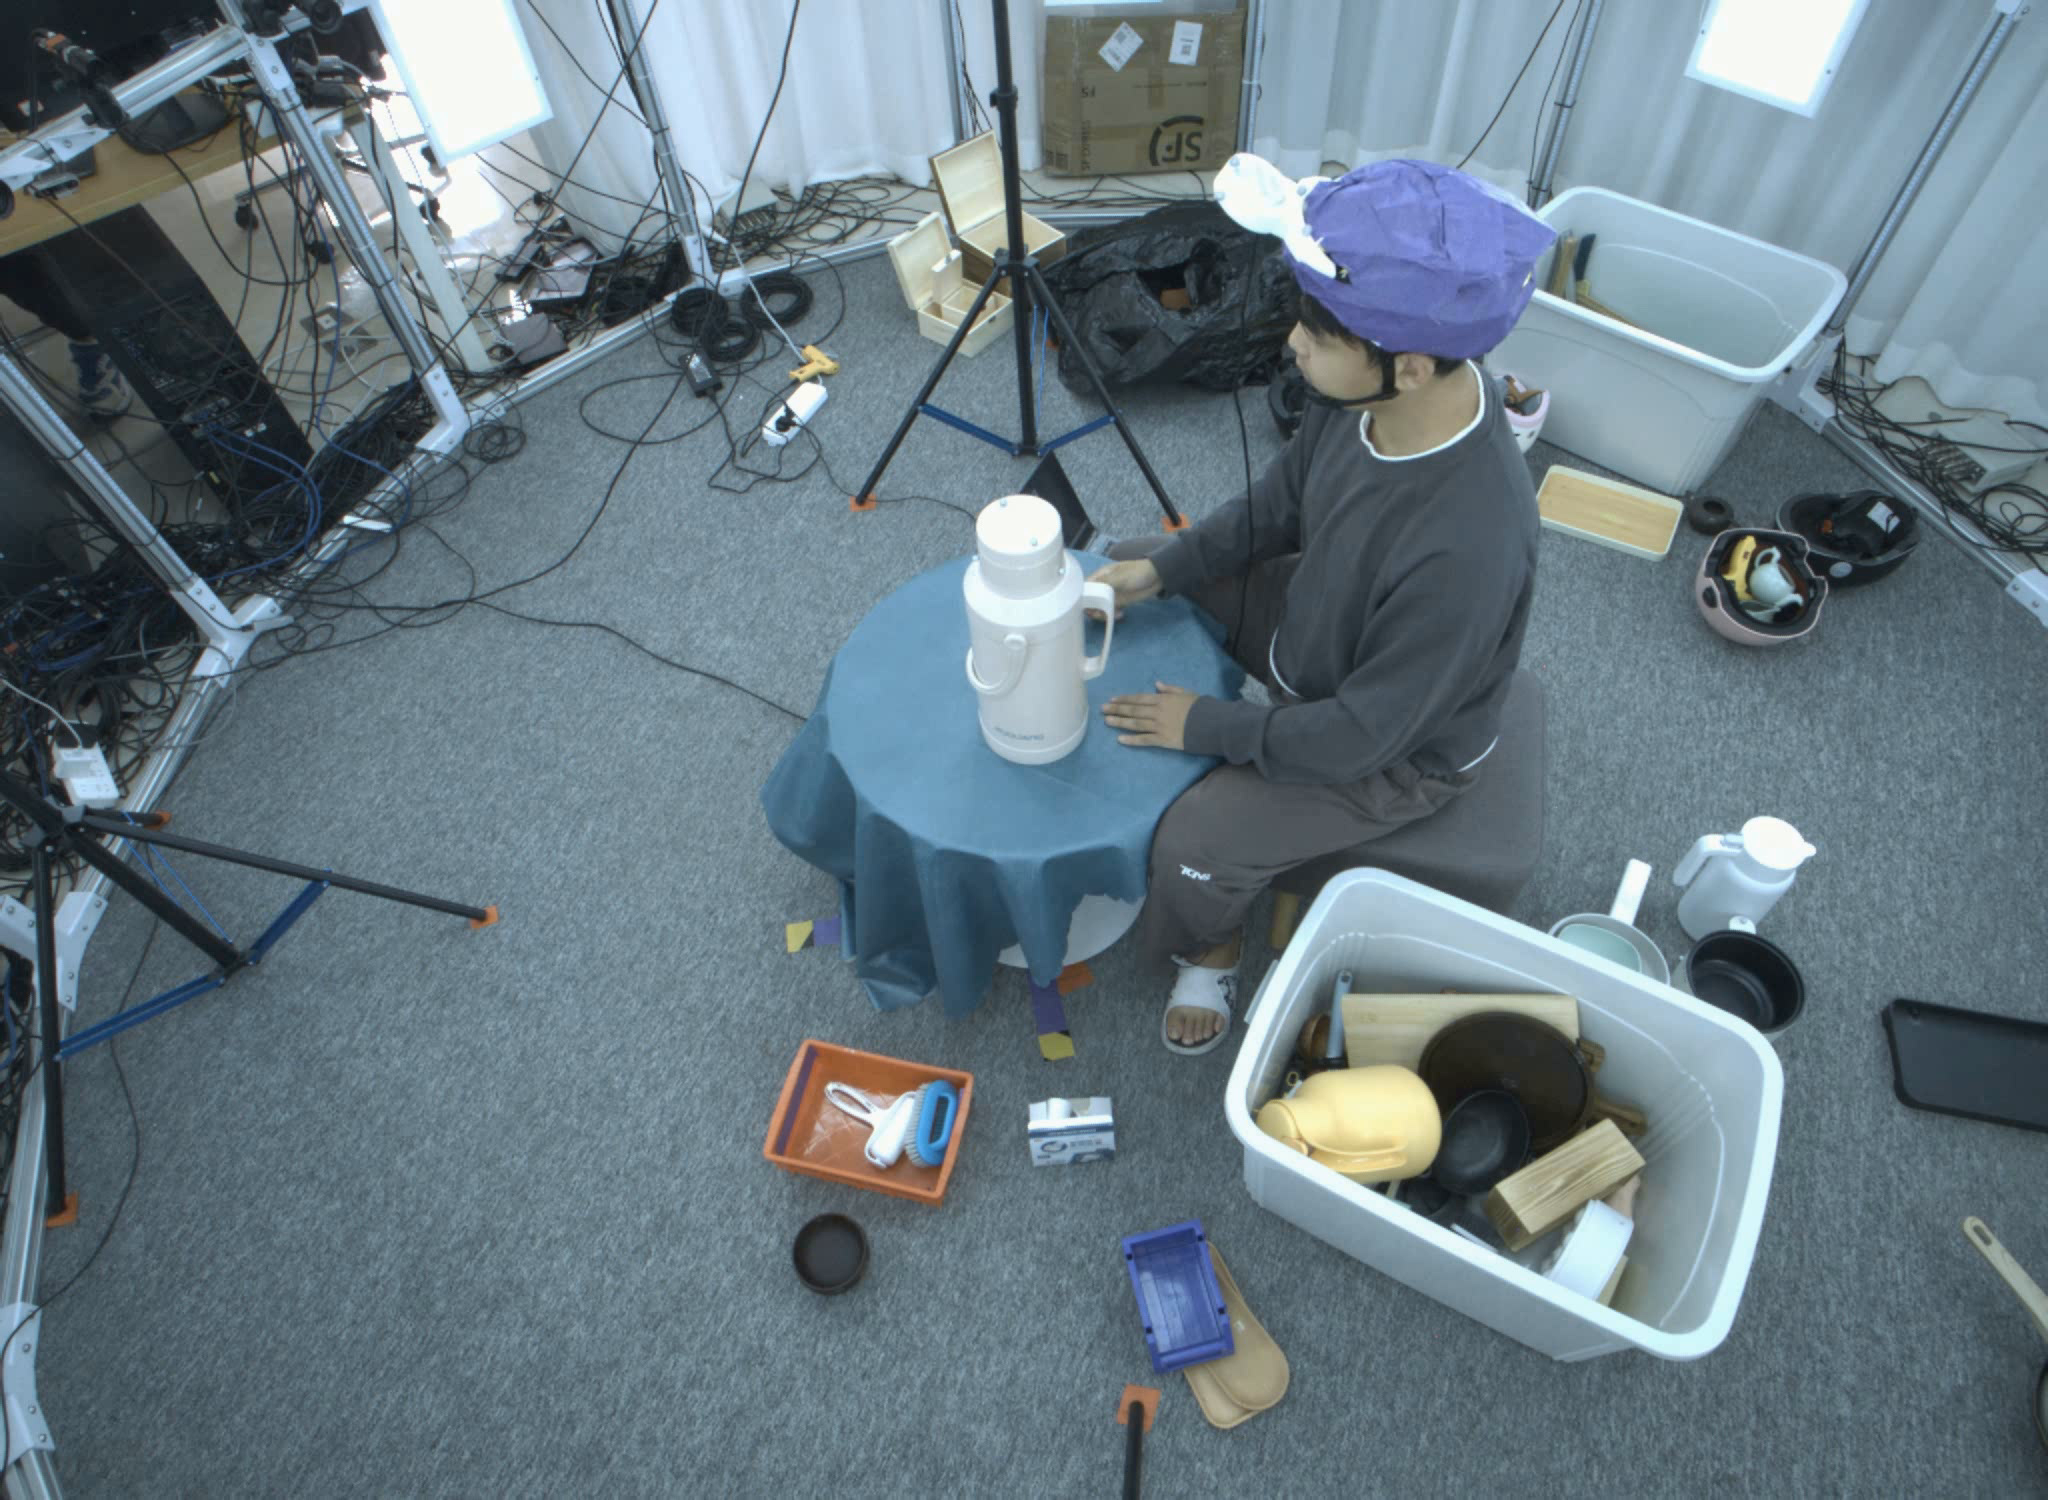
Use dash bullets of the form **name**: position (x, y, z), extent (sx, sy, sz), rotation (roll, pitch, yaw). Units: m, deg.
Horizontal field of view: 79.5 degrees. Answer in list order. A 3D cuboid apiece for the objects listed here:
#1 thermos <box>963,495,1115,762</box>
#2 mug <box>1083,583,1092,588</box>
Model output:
- **thermos**: position (0.018, -0.158, 1.655), extent (0.206, 0.411, 0.174), rotation (3, 55, 6)
- **mug**: position (0.051, -0.242, 1.901), extent (0.122, 0.091, 0.093), rotation (12, 56, 10)
